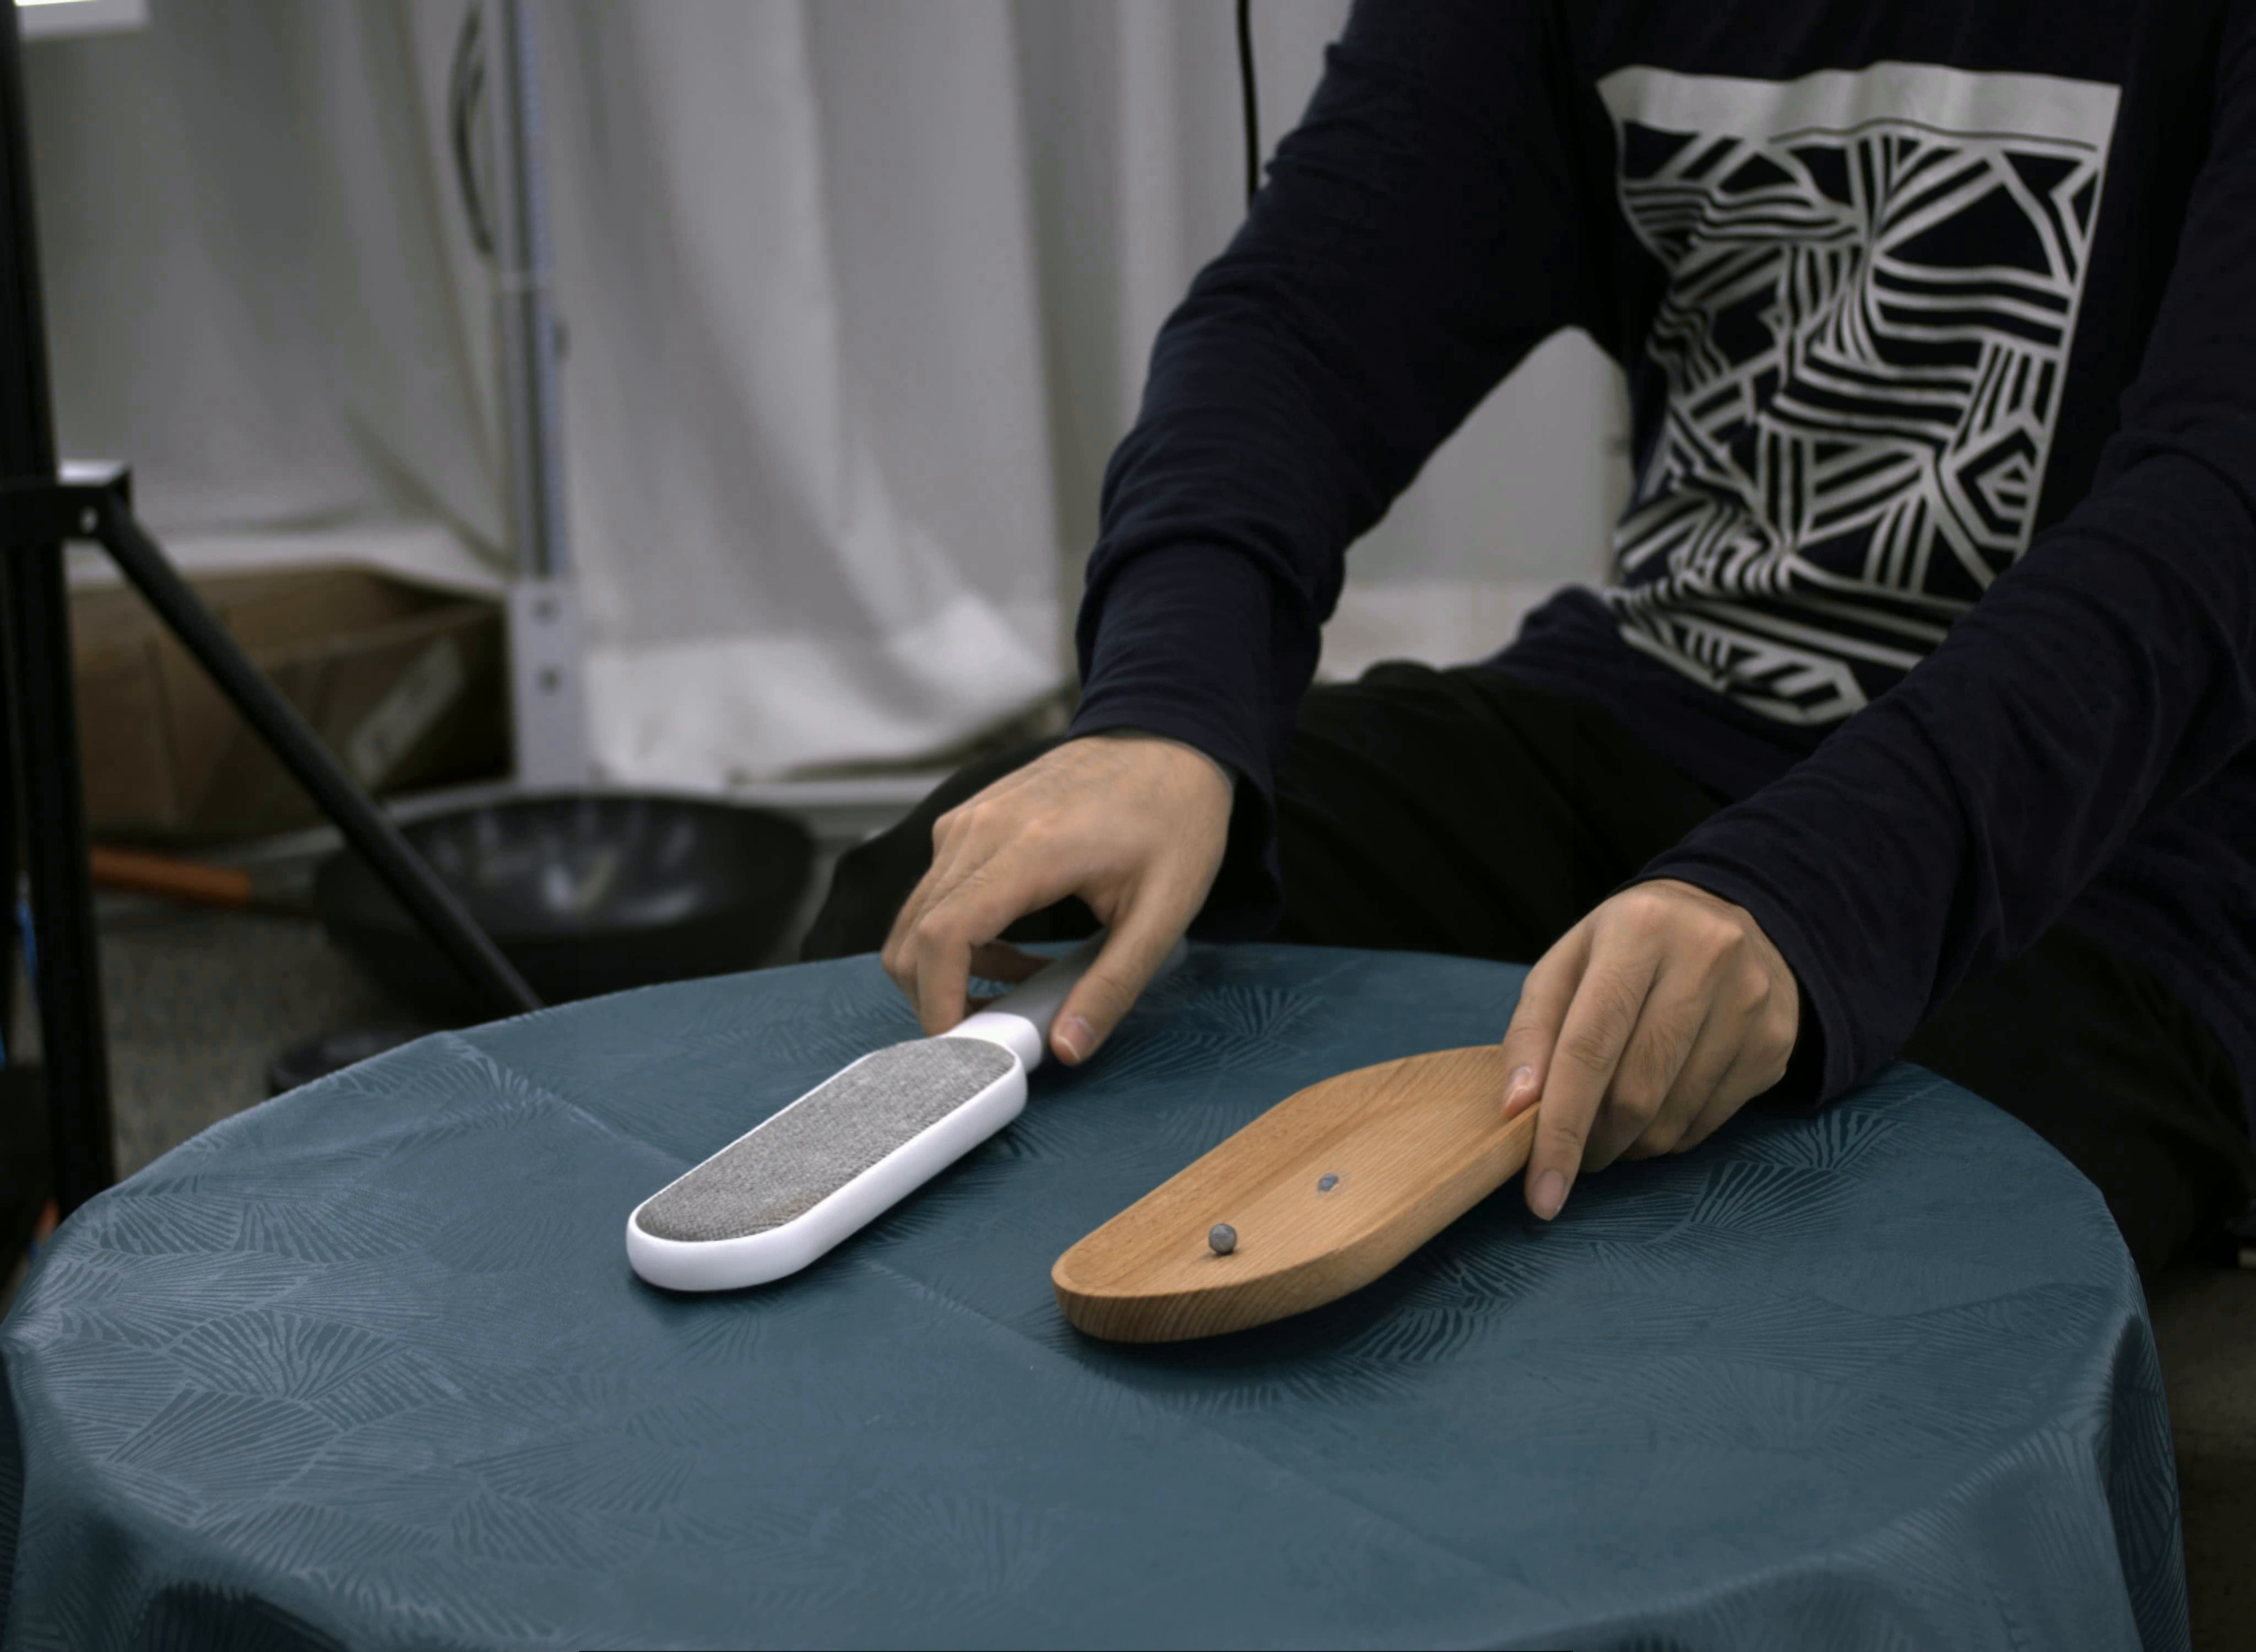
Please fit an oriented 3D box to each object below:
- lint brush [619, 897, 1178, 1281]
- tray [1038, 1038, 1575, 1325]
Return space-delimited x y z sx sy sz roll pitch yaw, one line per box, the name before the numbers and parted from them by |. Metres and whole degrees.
lint brush | -0.059 0.076 1.615 0.061 0.021 0.304 -3 16 29
tray | 0.055 0.100 1.520 0.103 0.020 0.227 -2 12 28
